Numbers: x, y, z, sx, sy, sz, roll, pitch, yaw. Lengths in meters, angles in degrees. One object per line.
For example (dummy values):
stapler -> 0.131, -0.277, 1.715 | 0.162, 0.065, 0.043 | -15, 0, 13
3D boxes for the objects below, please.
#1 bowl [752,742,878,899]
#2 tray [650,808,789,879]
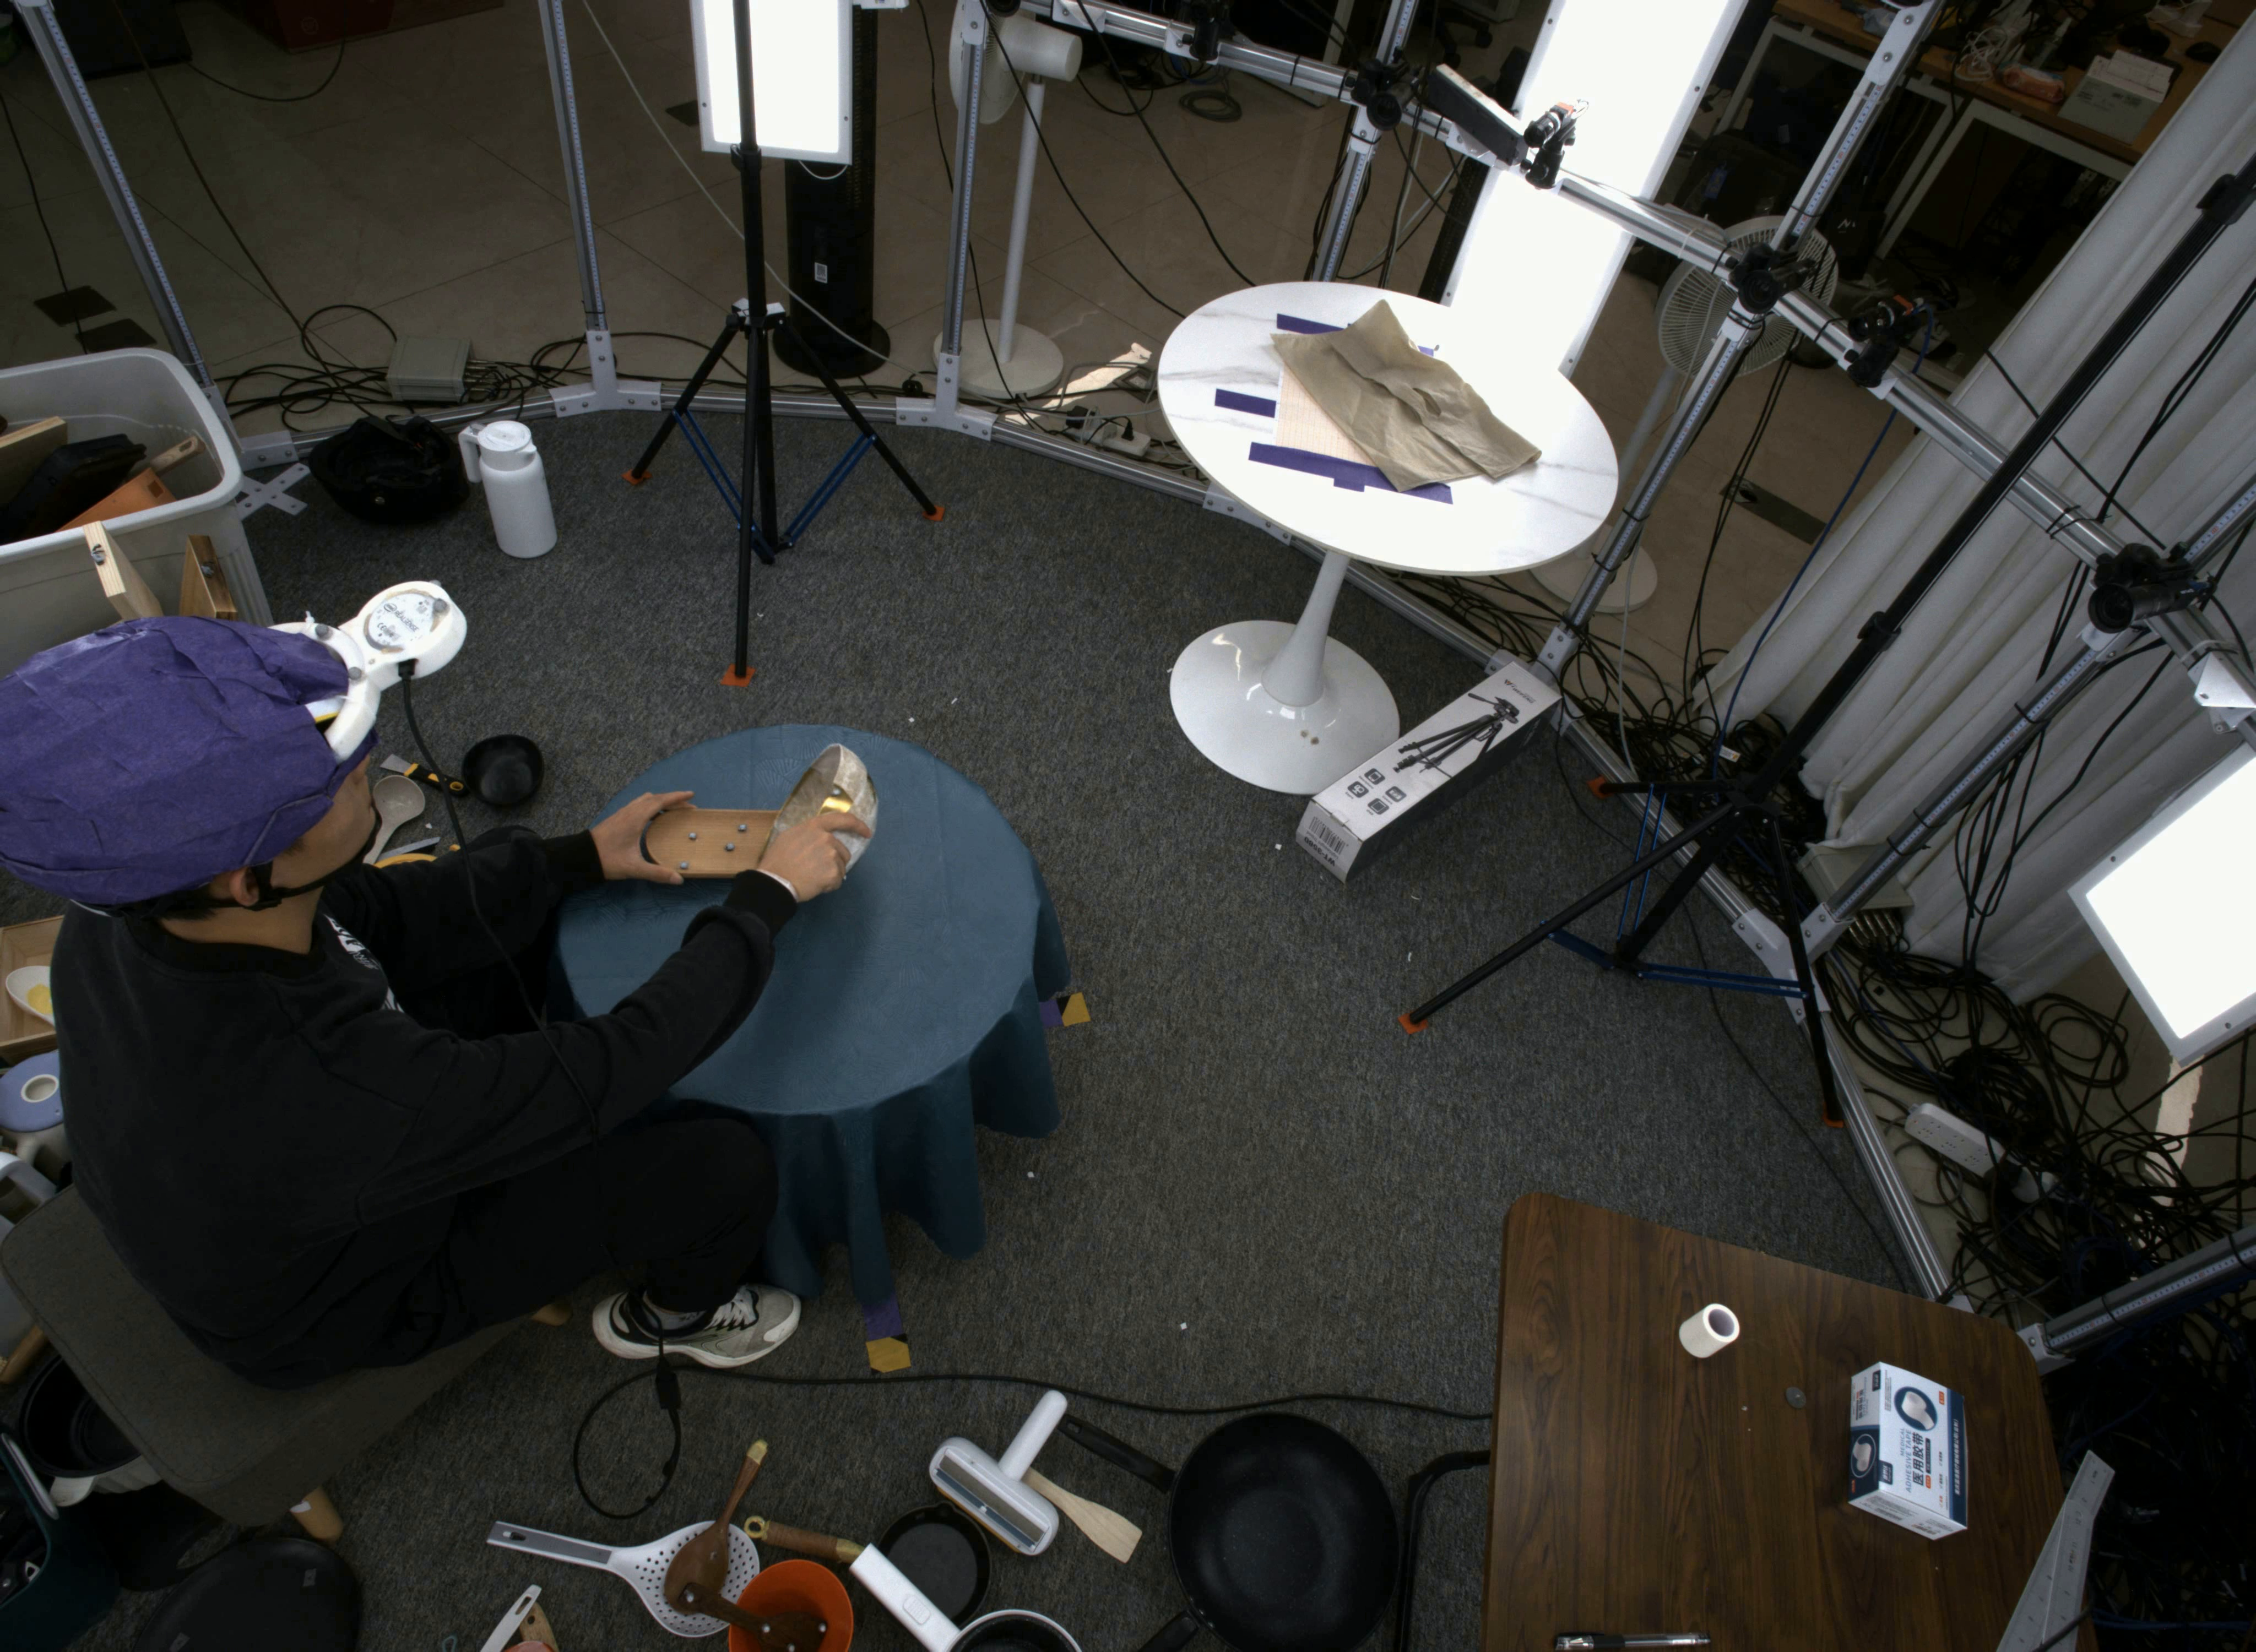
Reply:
bowl -> -0.374, 0.009, 1.610 | 0.097, 0.213, 0.211 | 30, 46, -25
tray -> -0.495, 0.022, 1.661 | 0.234, 0.020, 0.100 | 2, 58, -29
